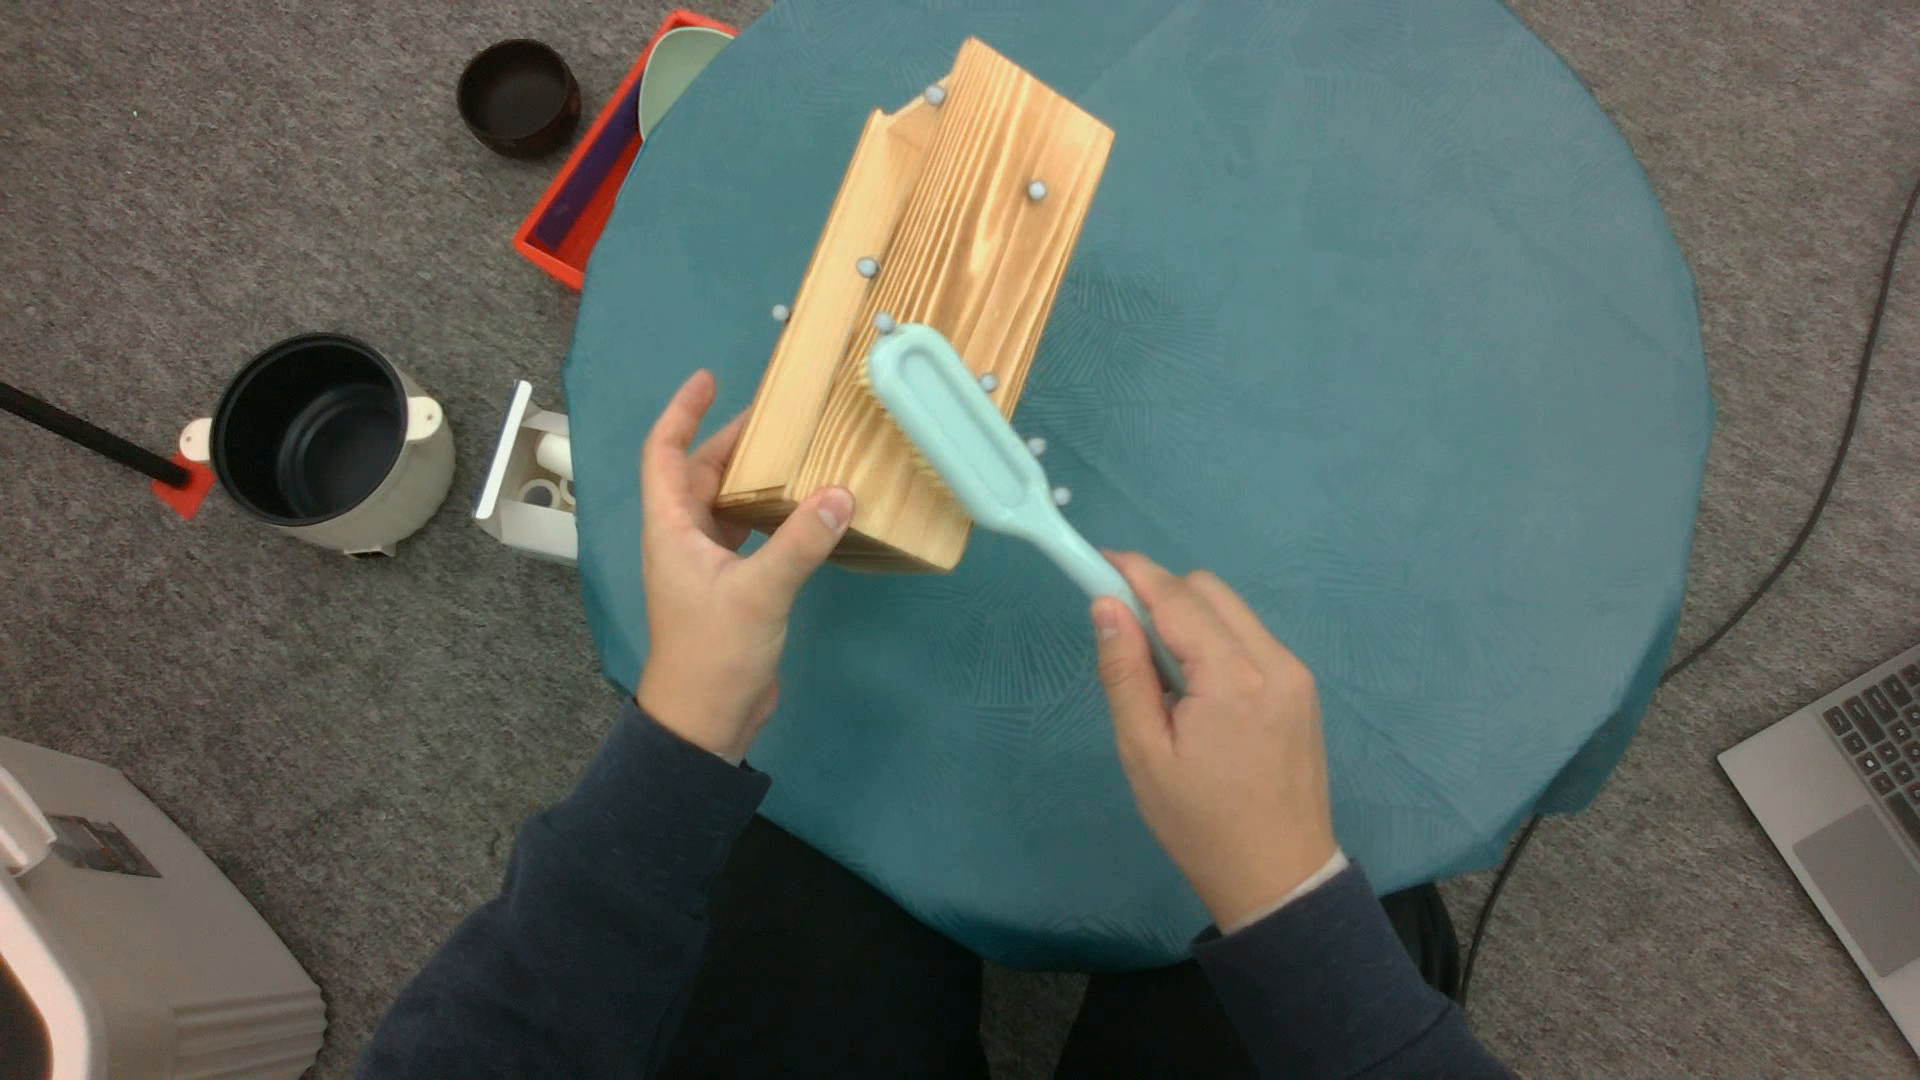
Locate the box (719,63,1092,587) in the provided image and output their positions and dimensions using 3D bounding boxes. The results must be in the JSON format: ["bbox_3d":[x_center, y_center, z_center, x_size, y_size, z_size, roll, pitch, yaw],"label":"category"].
[{"bbox_3d":[-0.026,-0.091,0.630,0.080,0.107,0.212,22,77,-23],"label":"box"}]

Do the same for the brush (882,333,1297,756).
[{"bbox_3d":[0.056,0.005,0.568,0.228,0.049,0.038,44,69,-6],"label":"brush"}]
